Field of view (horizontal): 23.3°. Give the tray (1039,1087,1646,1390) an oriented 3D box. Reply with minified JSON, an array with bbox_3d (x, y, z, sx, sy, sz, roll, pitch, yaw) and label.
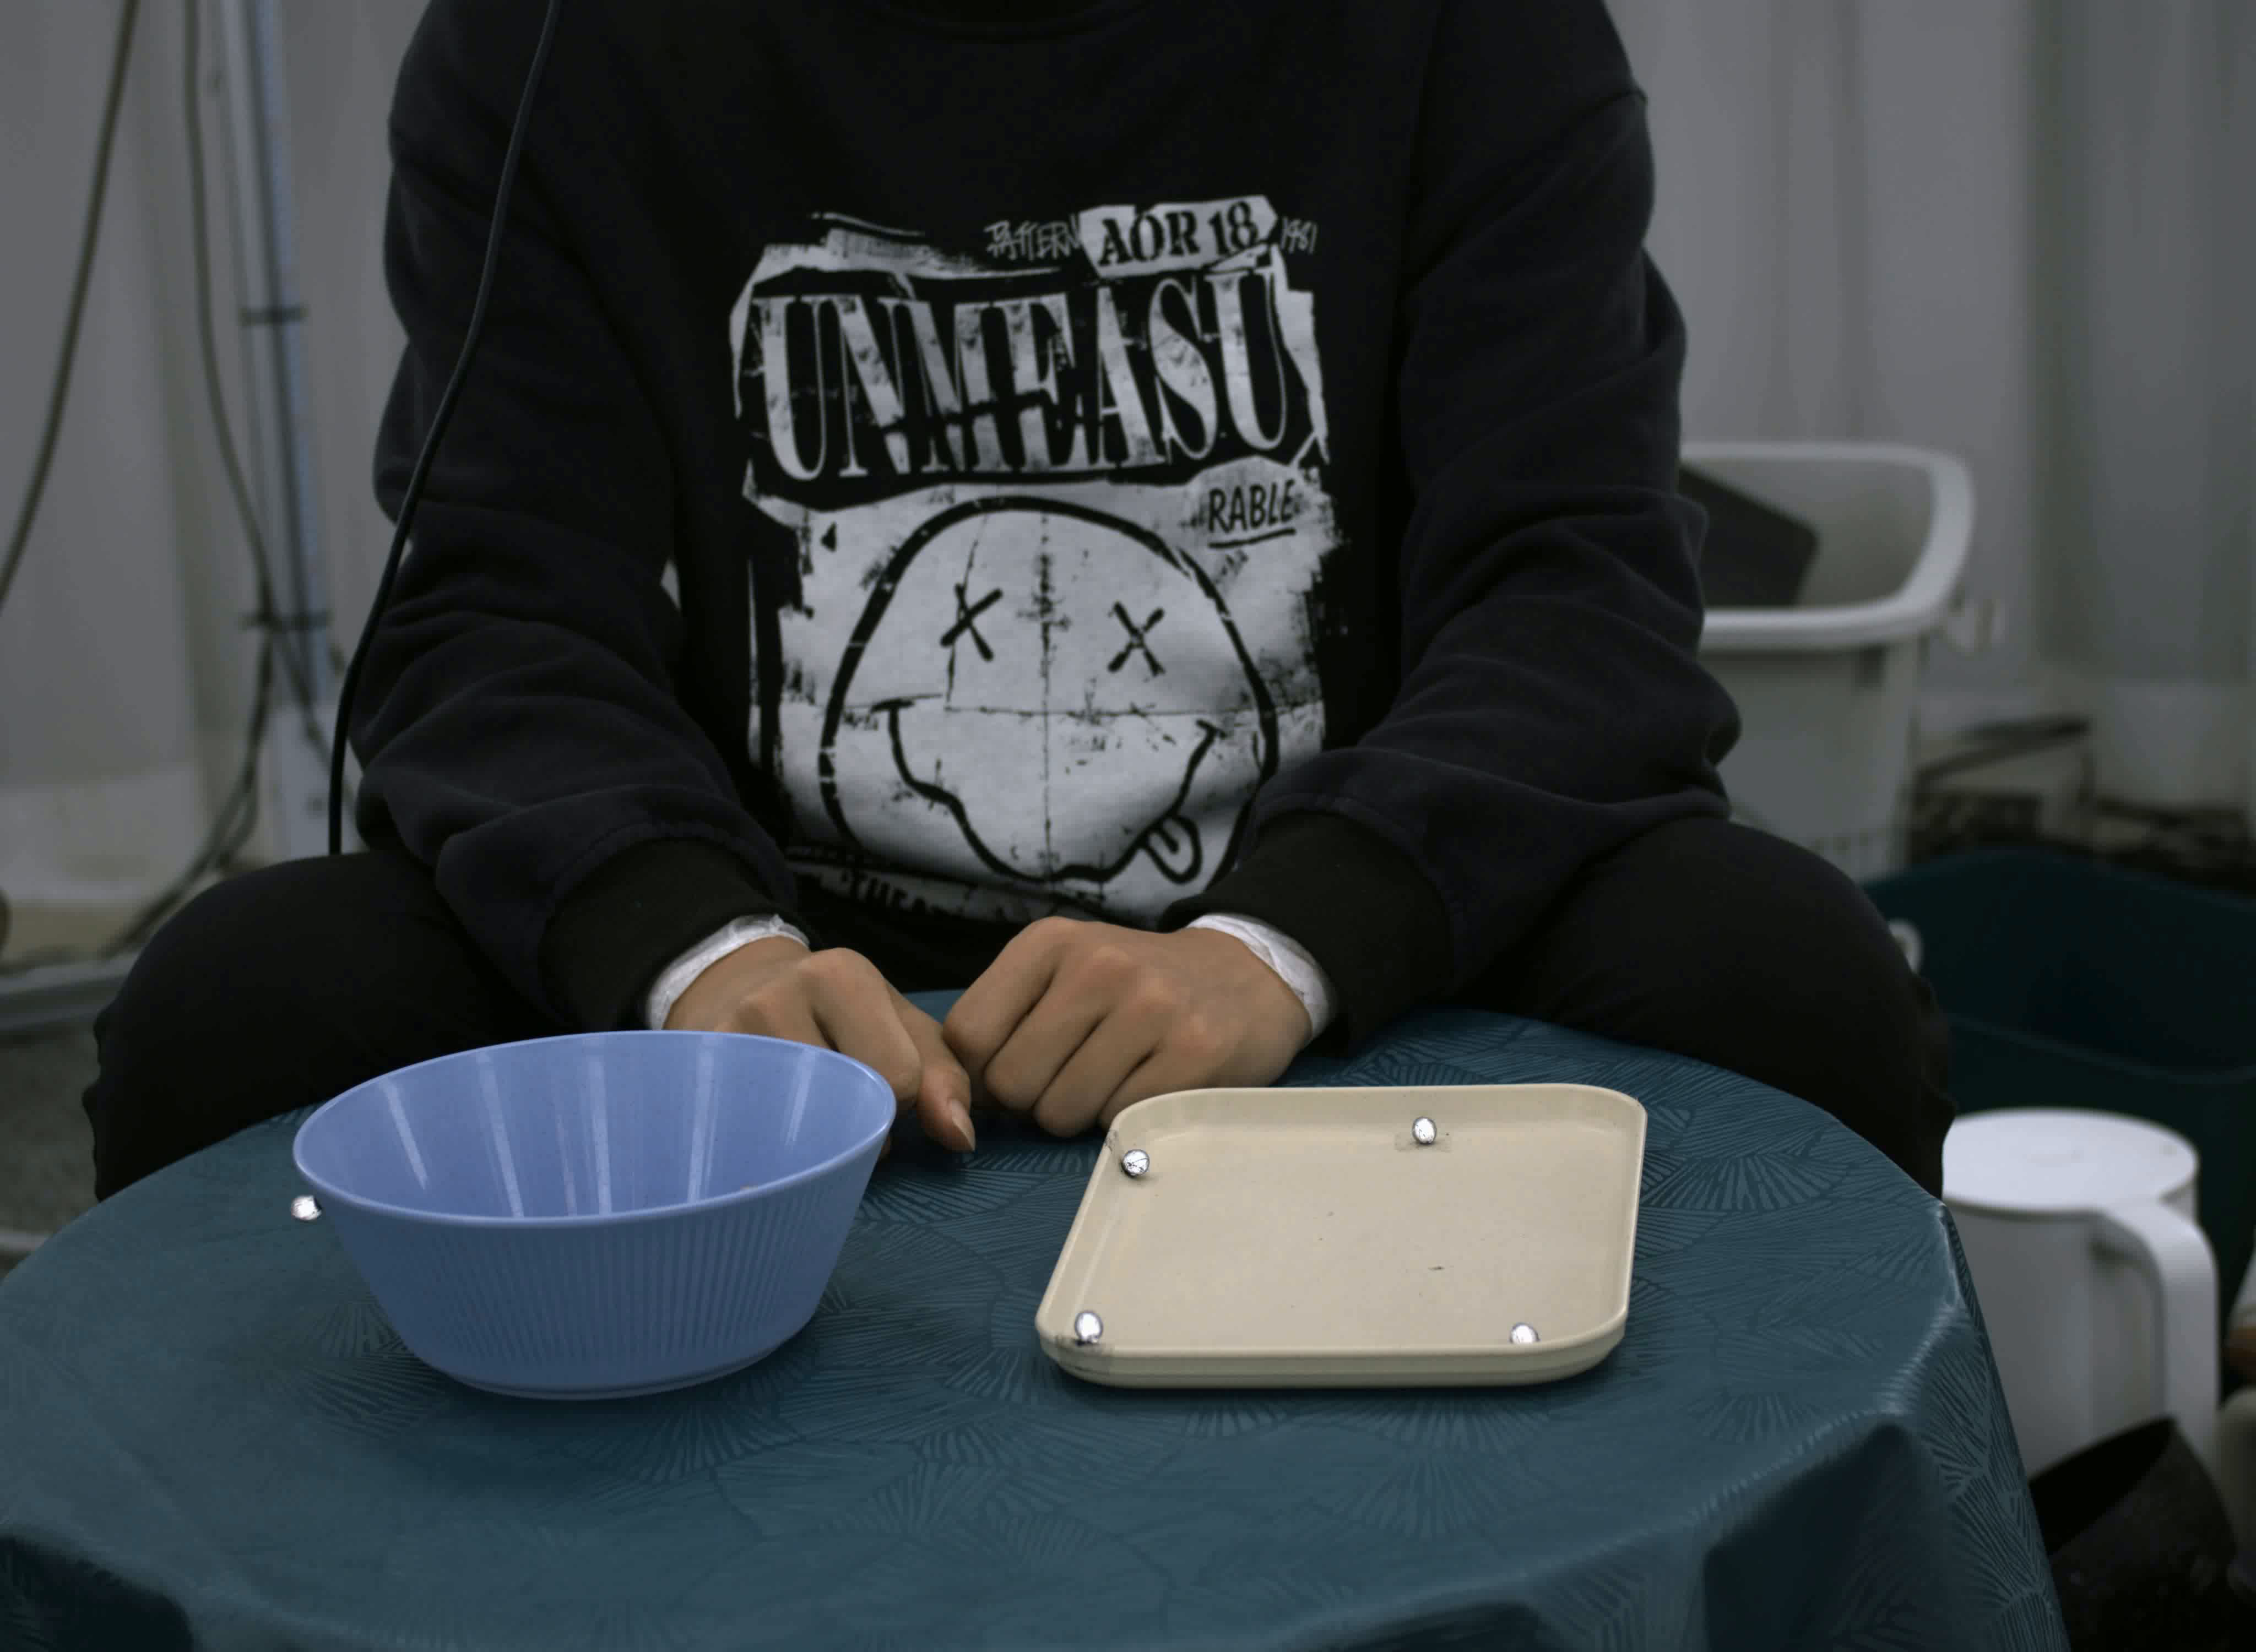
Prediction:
[{"bbox_3d":[0.069,0.123,1.638,0.171,0.017,0.241,0,15,7],"label":"tray"}]

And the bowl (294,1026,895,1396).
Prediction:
[{"bbox_3d":[-0.154,0.116,1.603,0.175,0.070,0.177,-2,16,0],"label":"bowl"}]
